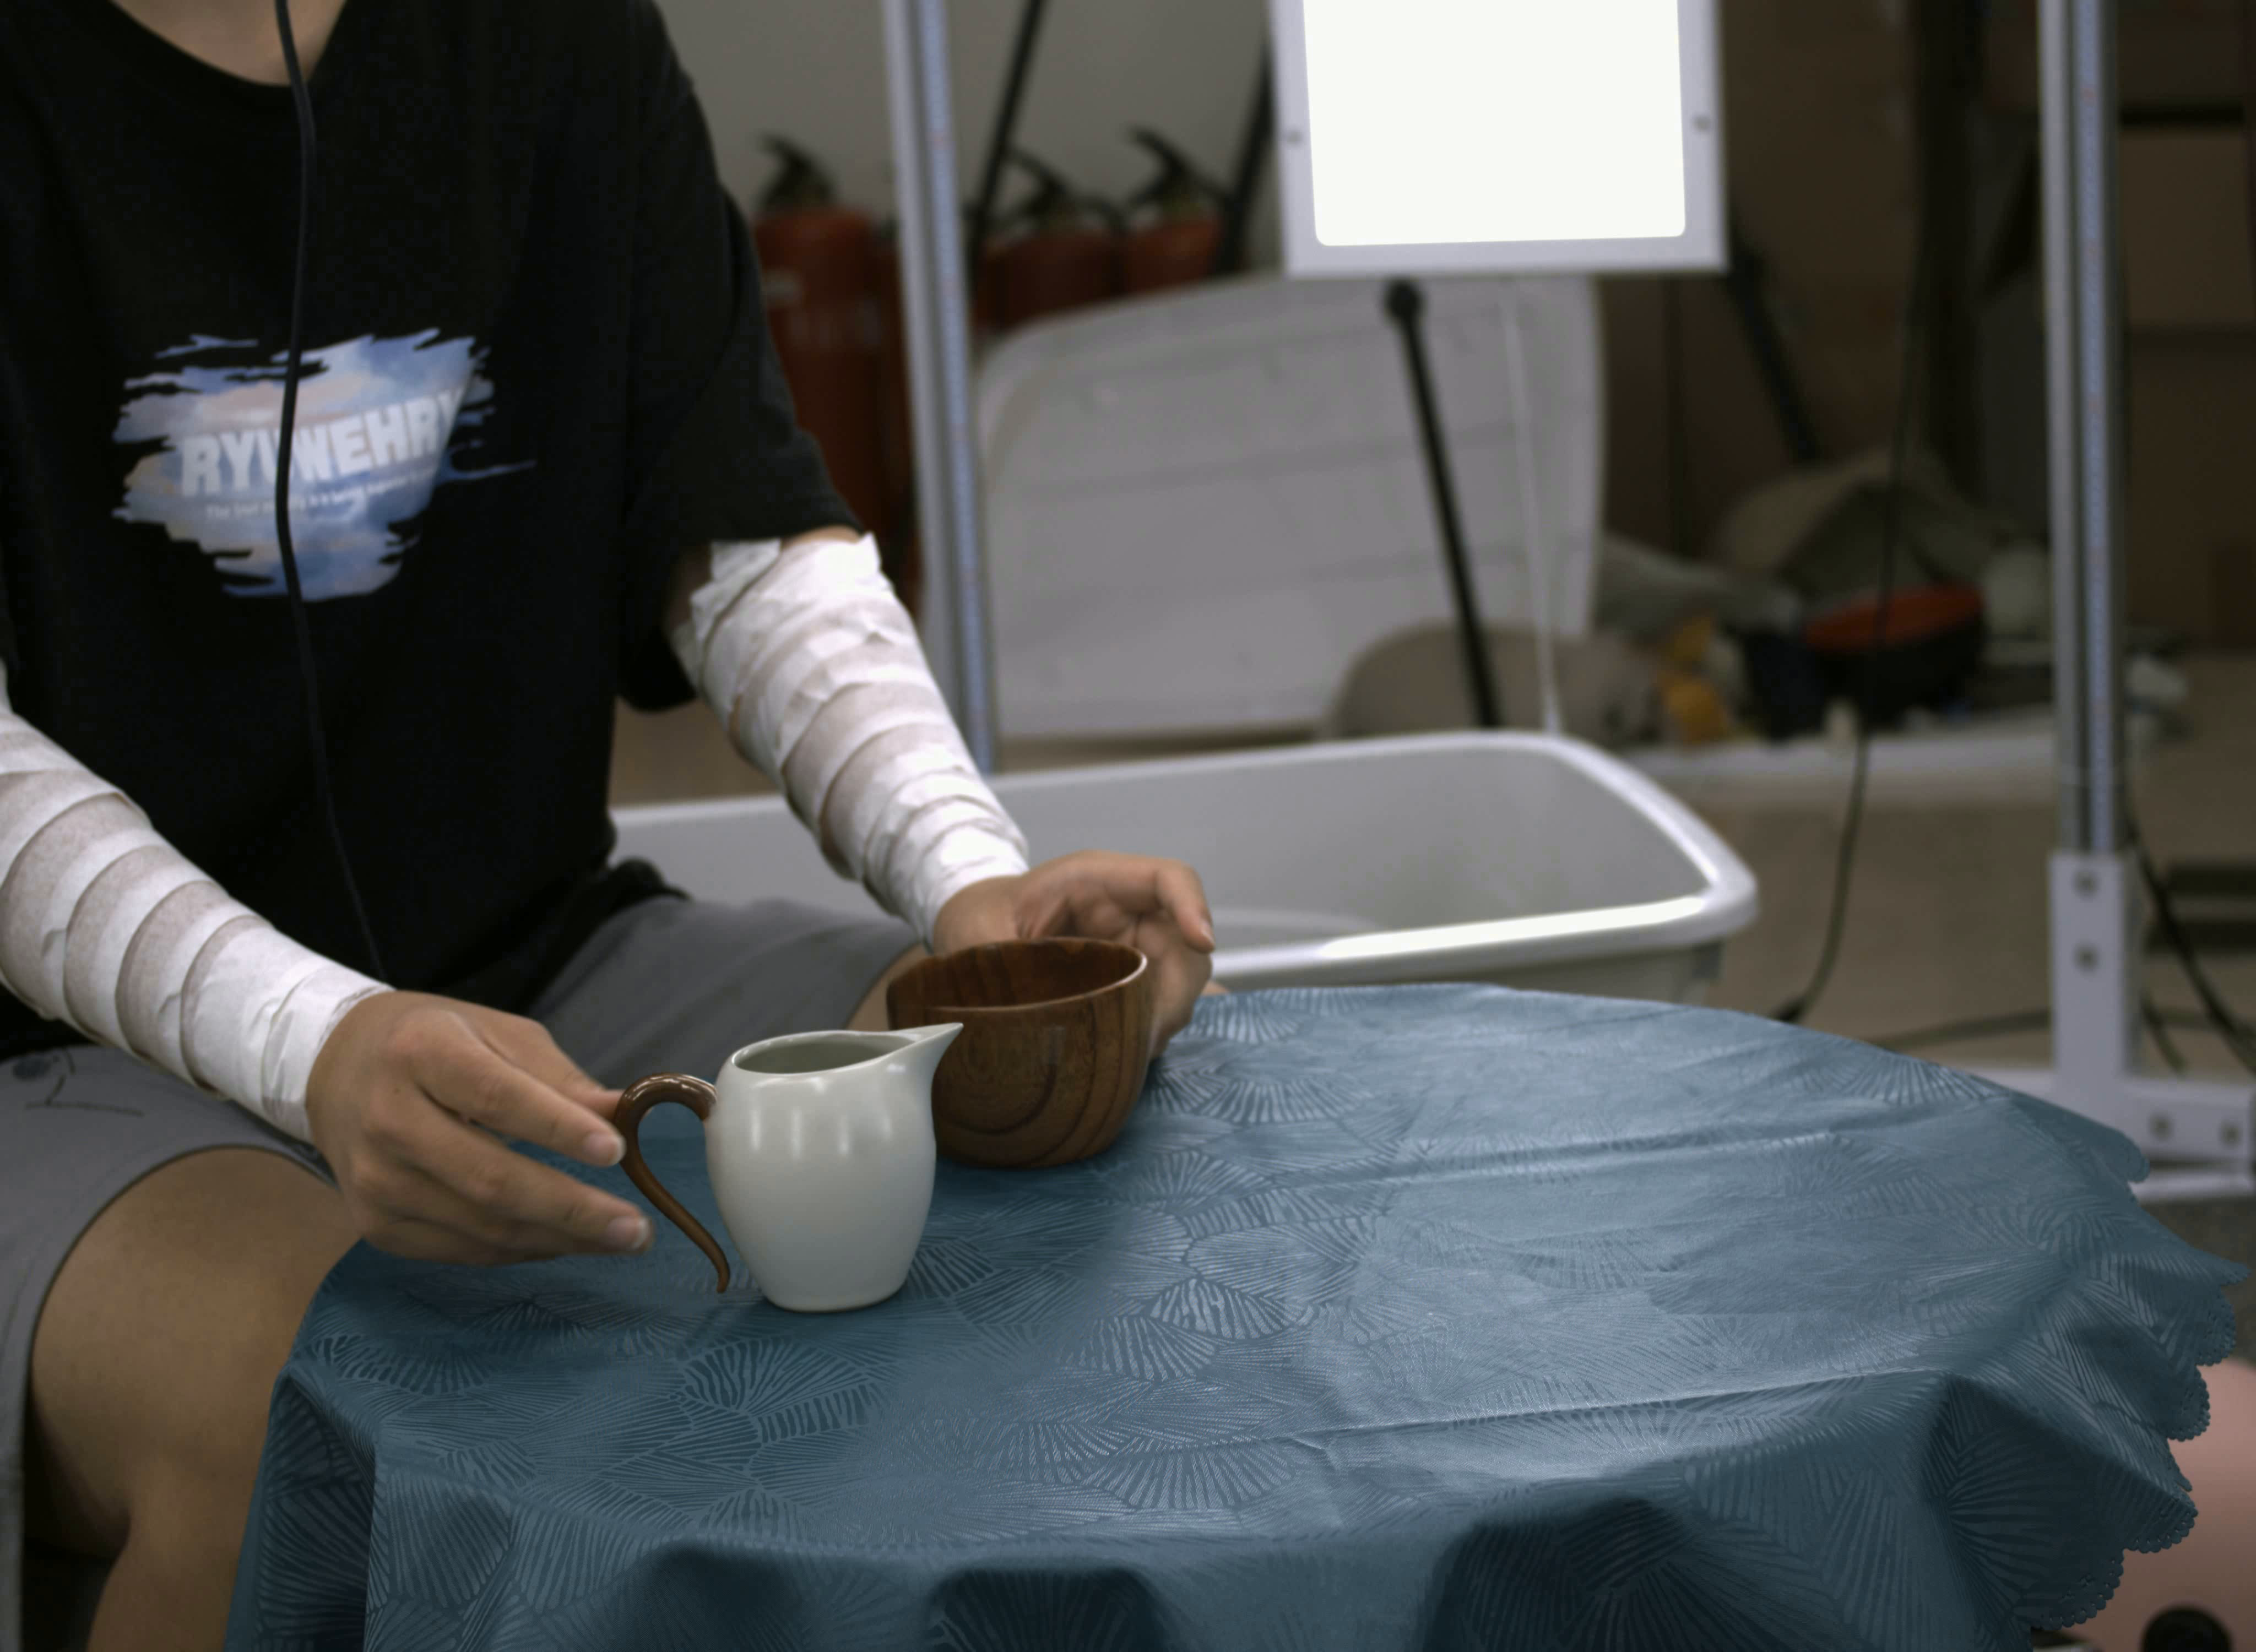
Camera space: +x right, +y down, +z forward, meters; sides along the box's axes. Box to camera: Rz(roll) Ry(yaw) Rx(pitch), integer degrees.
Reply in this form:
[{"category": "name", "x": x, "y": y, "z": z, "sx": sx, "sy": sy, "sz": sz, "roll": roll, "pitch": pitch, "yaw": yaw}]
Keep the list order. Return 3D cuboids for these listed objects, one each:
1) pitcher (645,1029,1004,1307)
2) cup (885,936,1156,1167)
[{"category": "pitcher", "x": -0.099, "y": 0.111, "z": 1.811, "sx": 0.119, "sy": 0.088, "sz": 0.075, "roll": 0, "pitch": 9, "yaw": 4}, {"category": "cup", "x": -0.030, "y": 0.079, "z": 1.966, "sx": 0.098, "sy": 0.068, "sz": 0.117, "roll": -2, "pitch": 12, "yaw": 27}]
